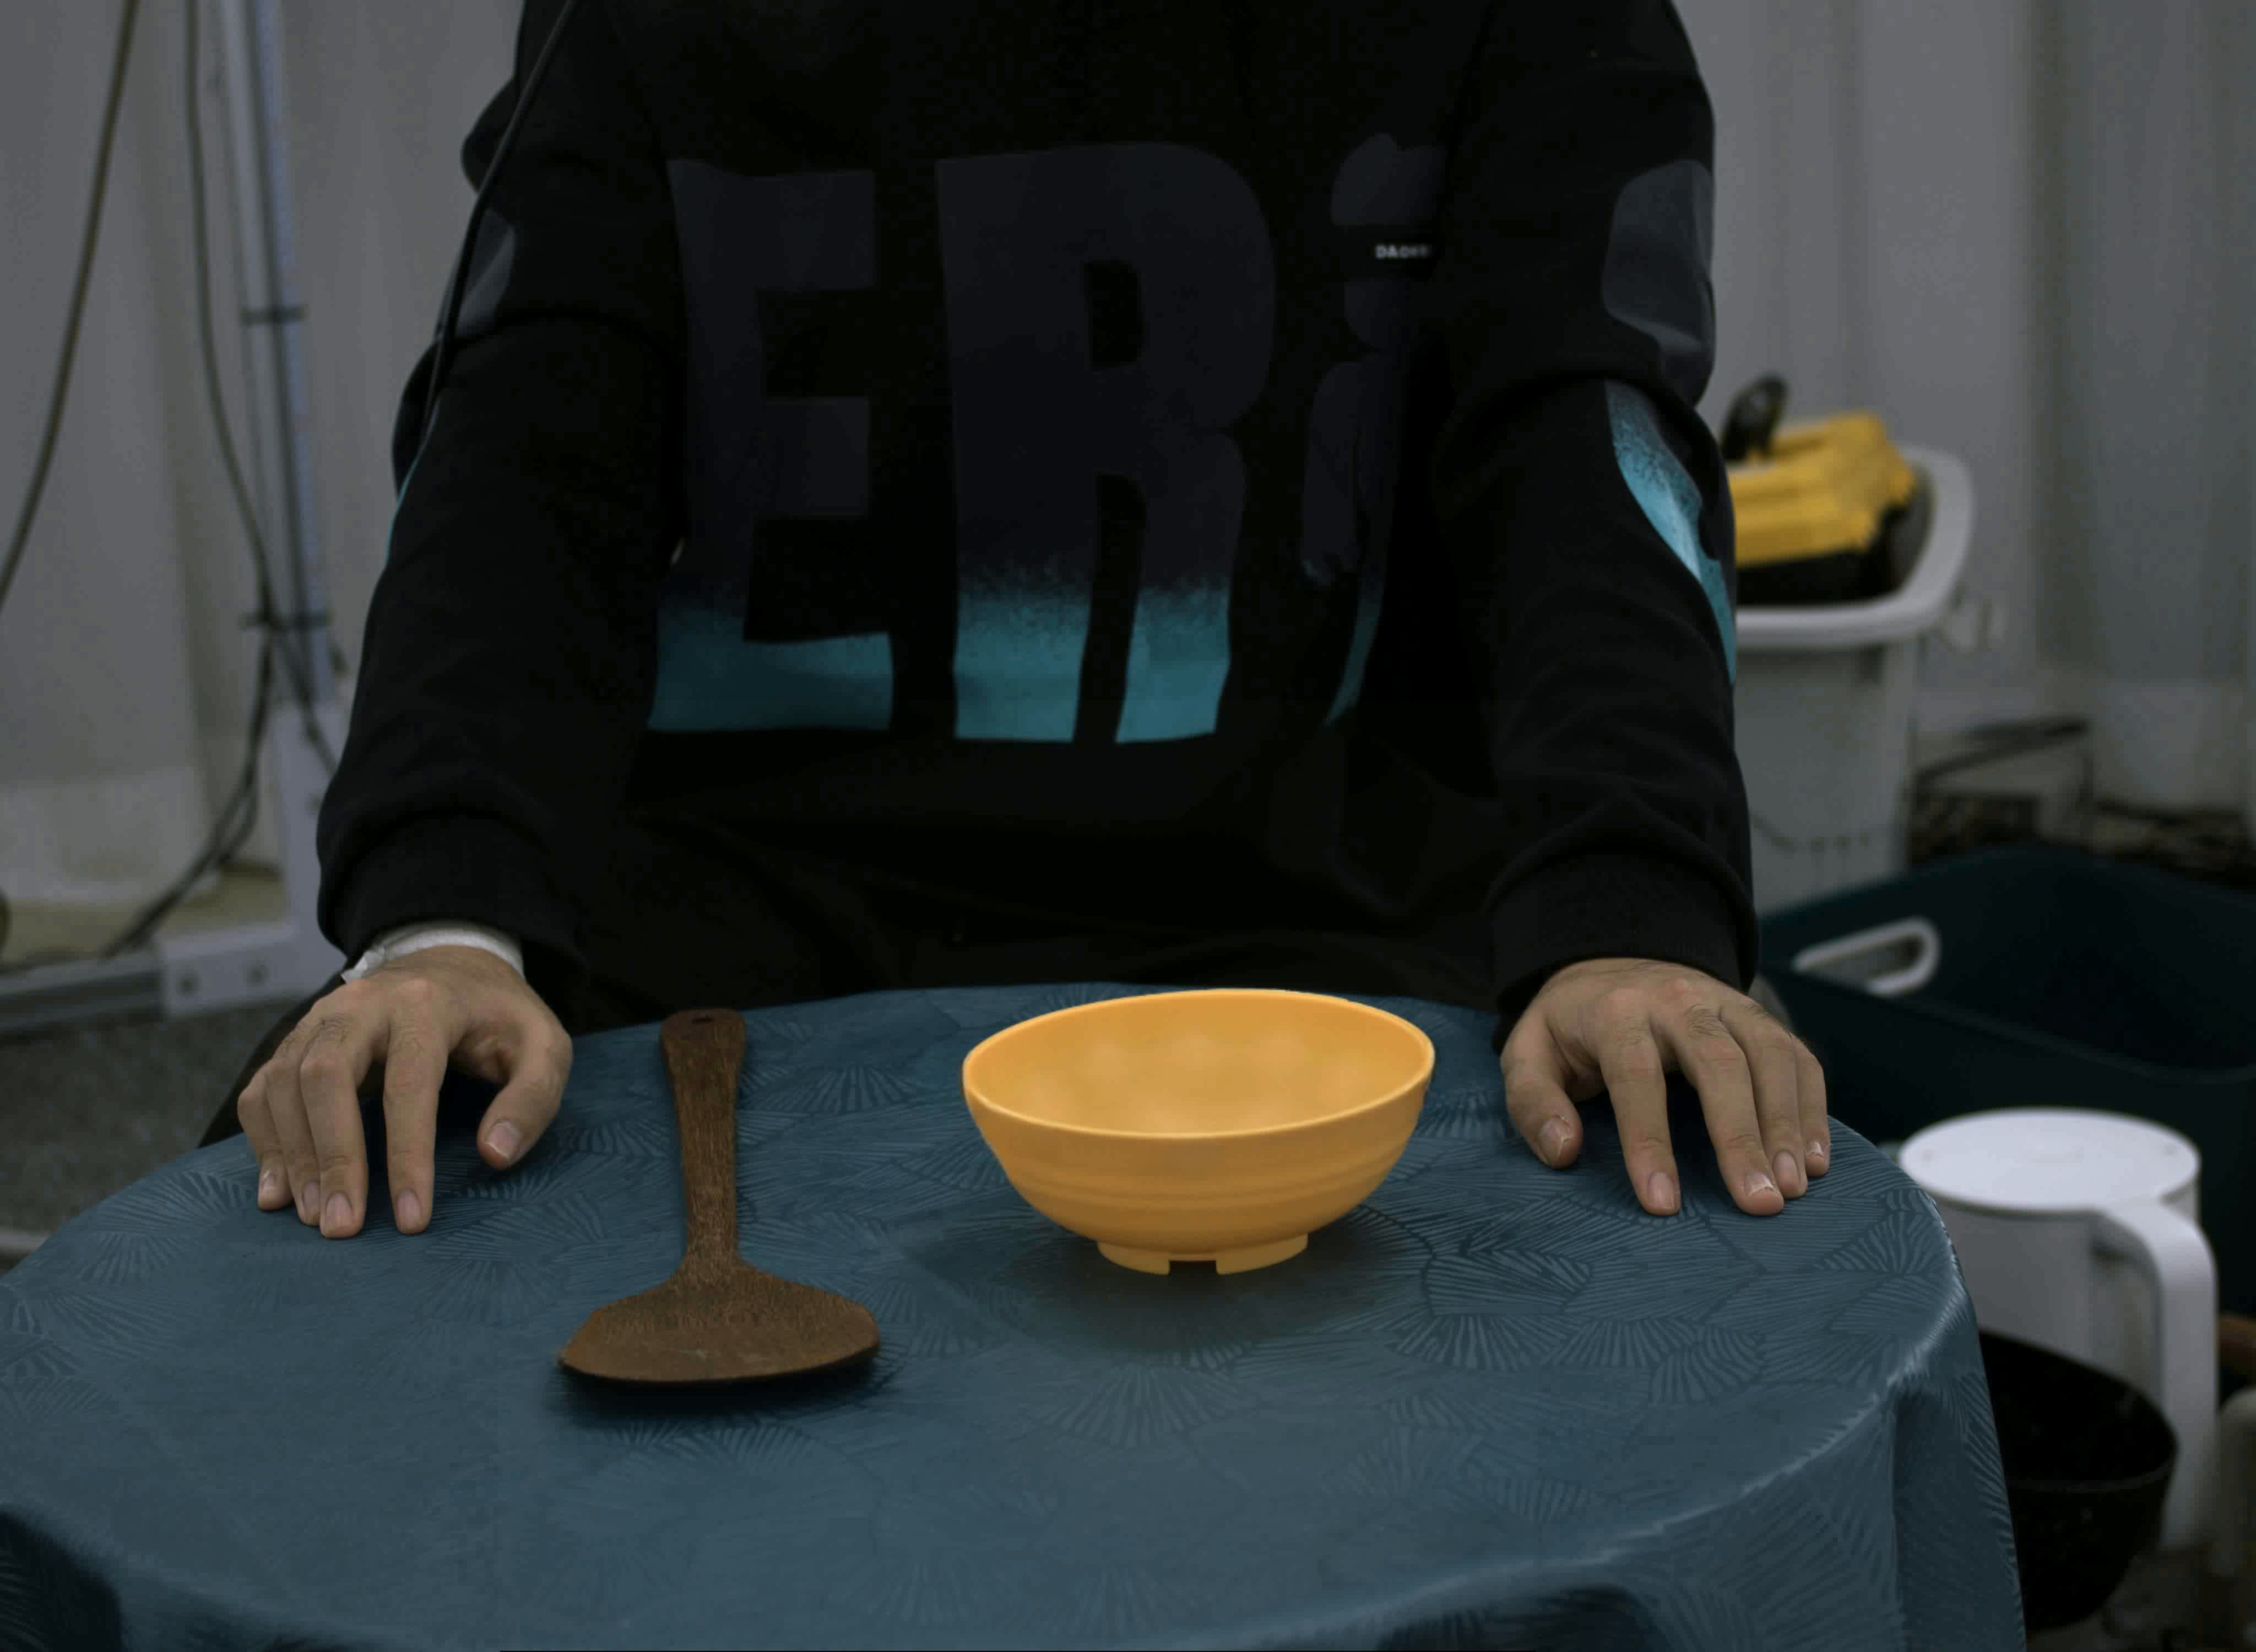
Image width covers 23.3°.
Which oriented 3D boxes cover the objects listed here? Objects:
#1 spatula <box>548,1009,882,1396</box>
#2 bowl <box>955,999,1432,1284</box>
[{"bbox_3d":[-0.133,0.112,1.723,0.096,0.016,0.389,-4,15,-4],"label":"spatula"},{"bbox_3d":[0.020,0.101,1.659,0.145,0.060,0.146,0,14,0],"label":"bowl"}]
